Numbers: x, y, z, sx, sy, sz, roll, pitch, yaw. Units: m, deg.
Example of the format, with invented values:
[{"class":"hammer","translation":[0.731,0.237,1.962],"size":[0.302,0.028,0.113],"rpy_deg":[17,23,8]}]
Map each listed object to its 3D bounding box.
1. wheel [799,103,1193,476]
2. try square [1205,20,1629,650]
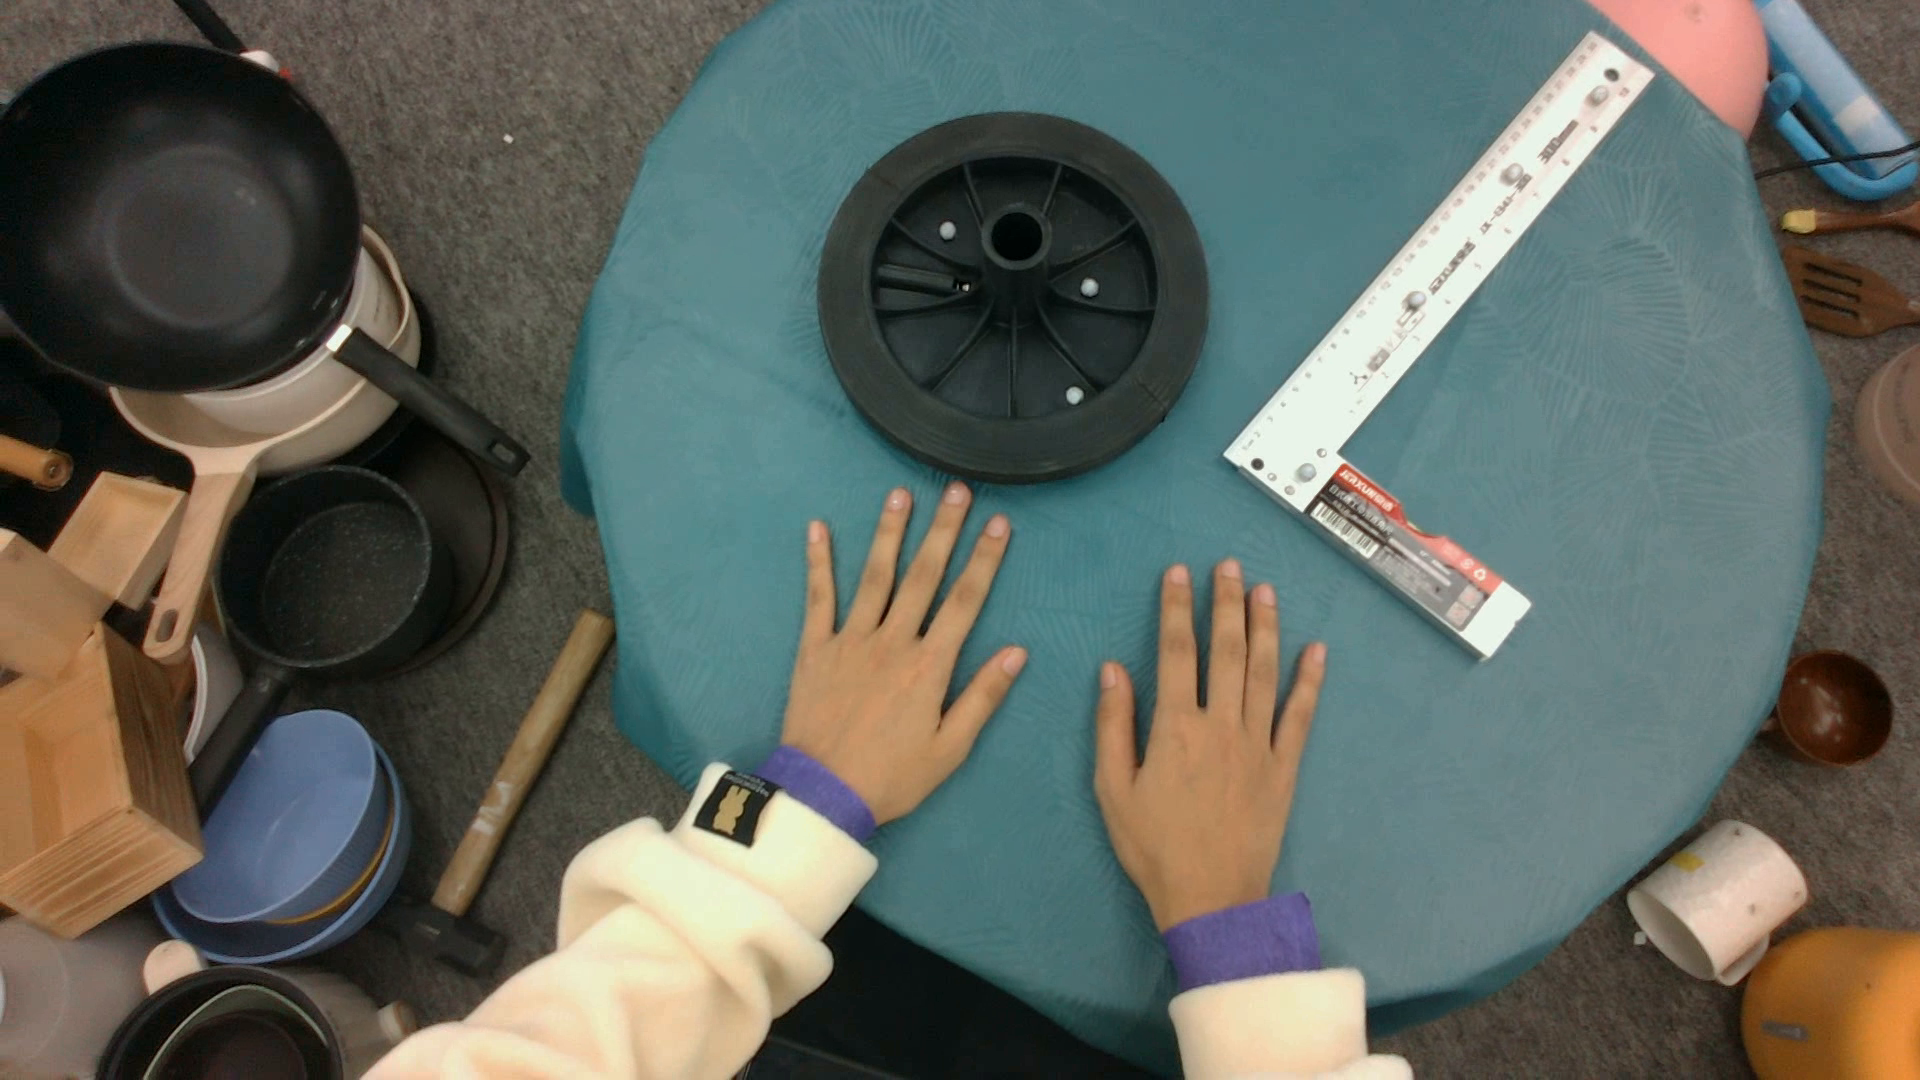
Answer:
[{"class":"wheel","translation":[0.018,-0.128,0.642],"size":[0.190,0.079,0.188],"rpy_deg":[-13,77,-3]},{"class":"try square","translation":[0.272,-0.110,0.678],"size":[0.152,0.016,0.313],"rpy_deg":[41,78,6]}]
